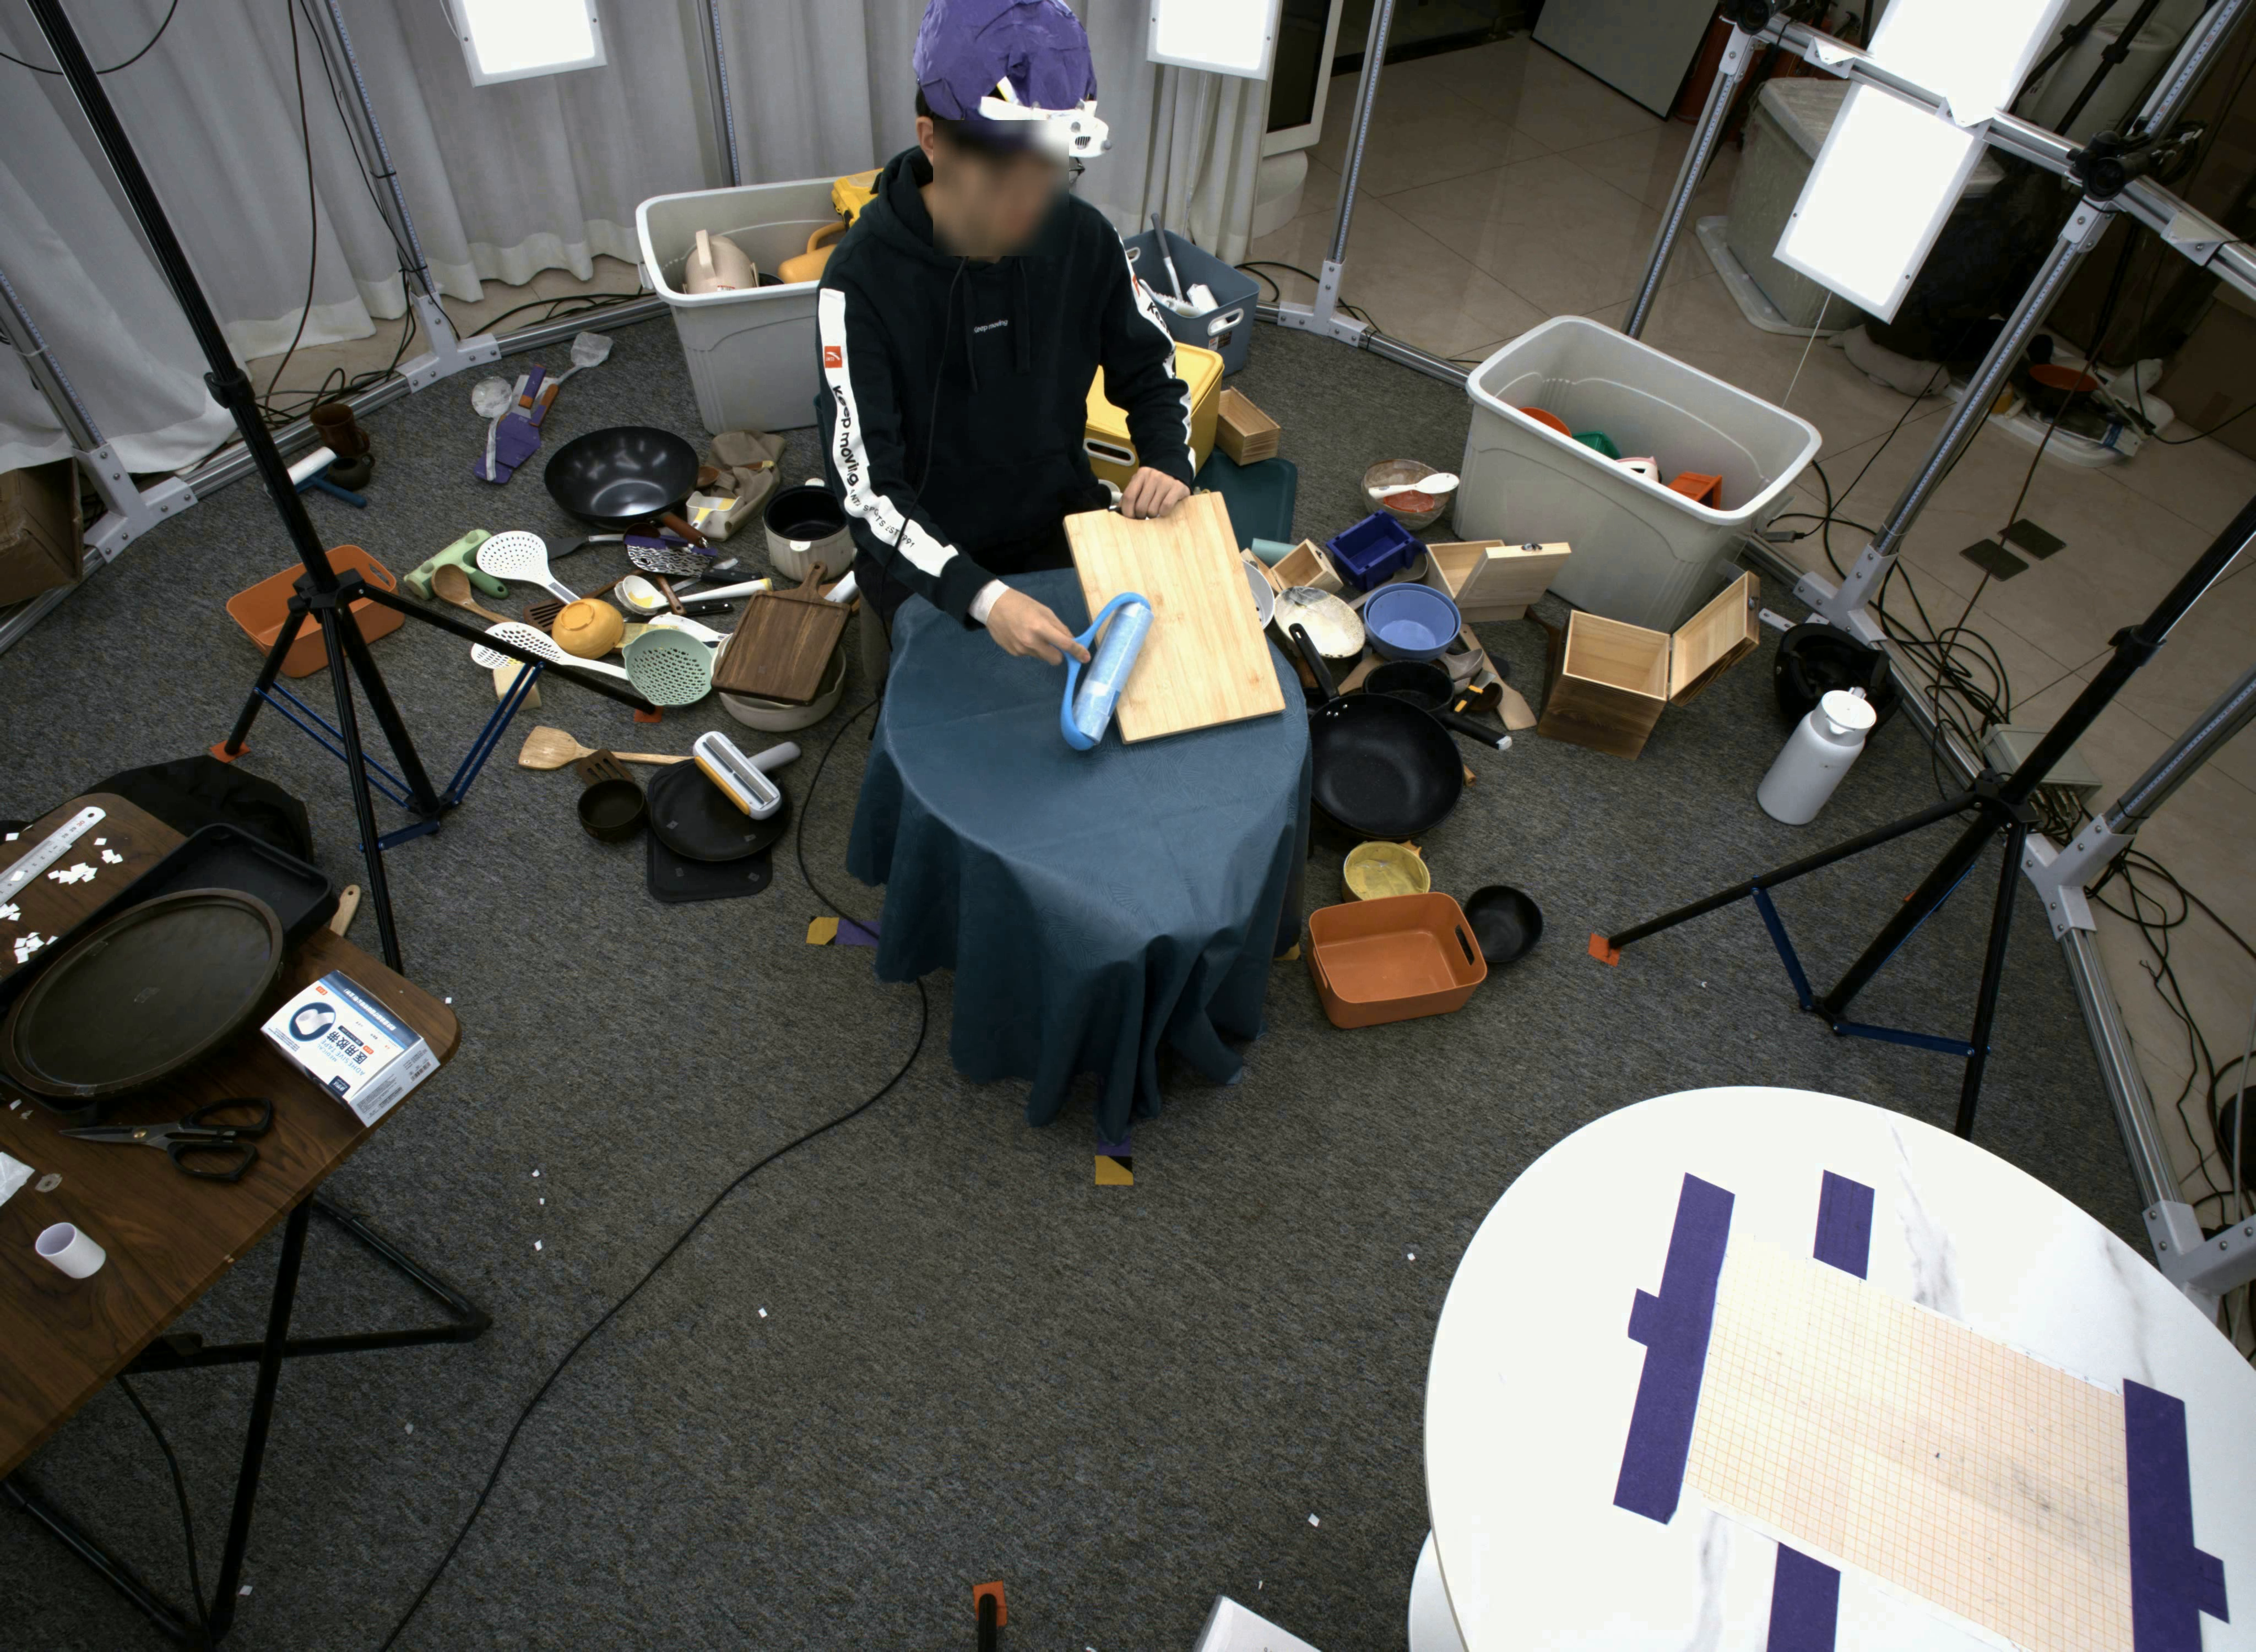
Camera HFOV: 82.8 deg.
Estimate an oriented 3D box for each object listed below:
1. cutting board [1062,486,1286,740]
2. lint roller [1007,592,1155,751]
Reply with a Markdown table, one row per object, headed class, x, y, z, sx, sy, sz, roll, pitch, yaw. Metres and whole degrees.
| class | x | y | z | sx | sy | sz | roll | pitch | yaw |
| --- | --- | --- | --- | --- | --- | --- | --- | --- | --- |
| cutting board | 0.064 | -0.305 | 1.825 | 0.251 | 0.023 | 0.352 | -13 | 77 | -14 |
| lint roller | -0.076 | -0.230 | 1.728 | 0.179 | 0.068 | 0.230 | 22 | 83 | -12 |
